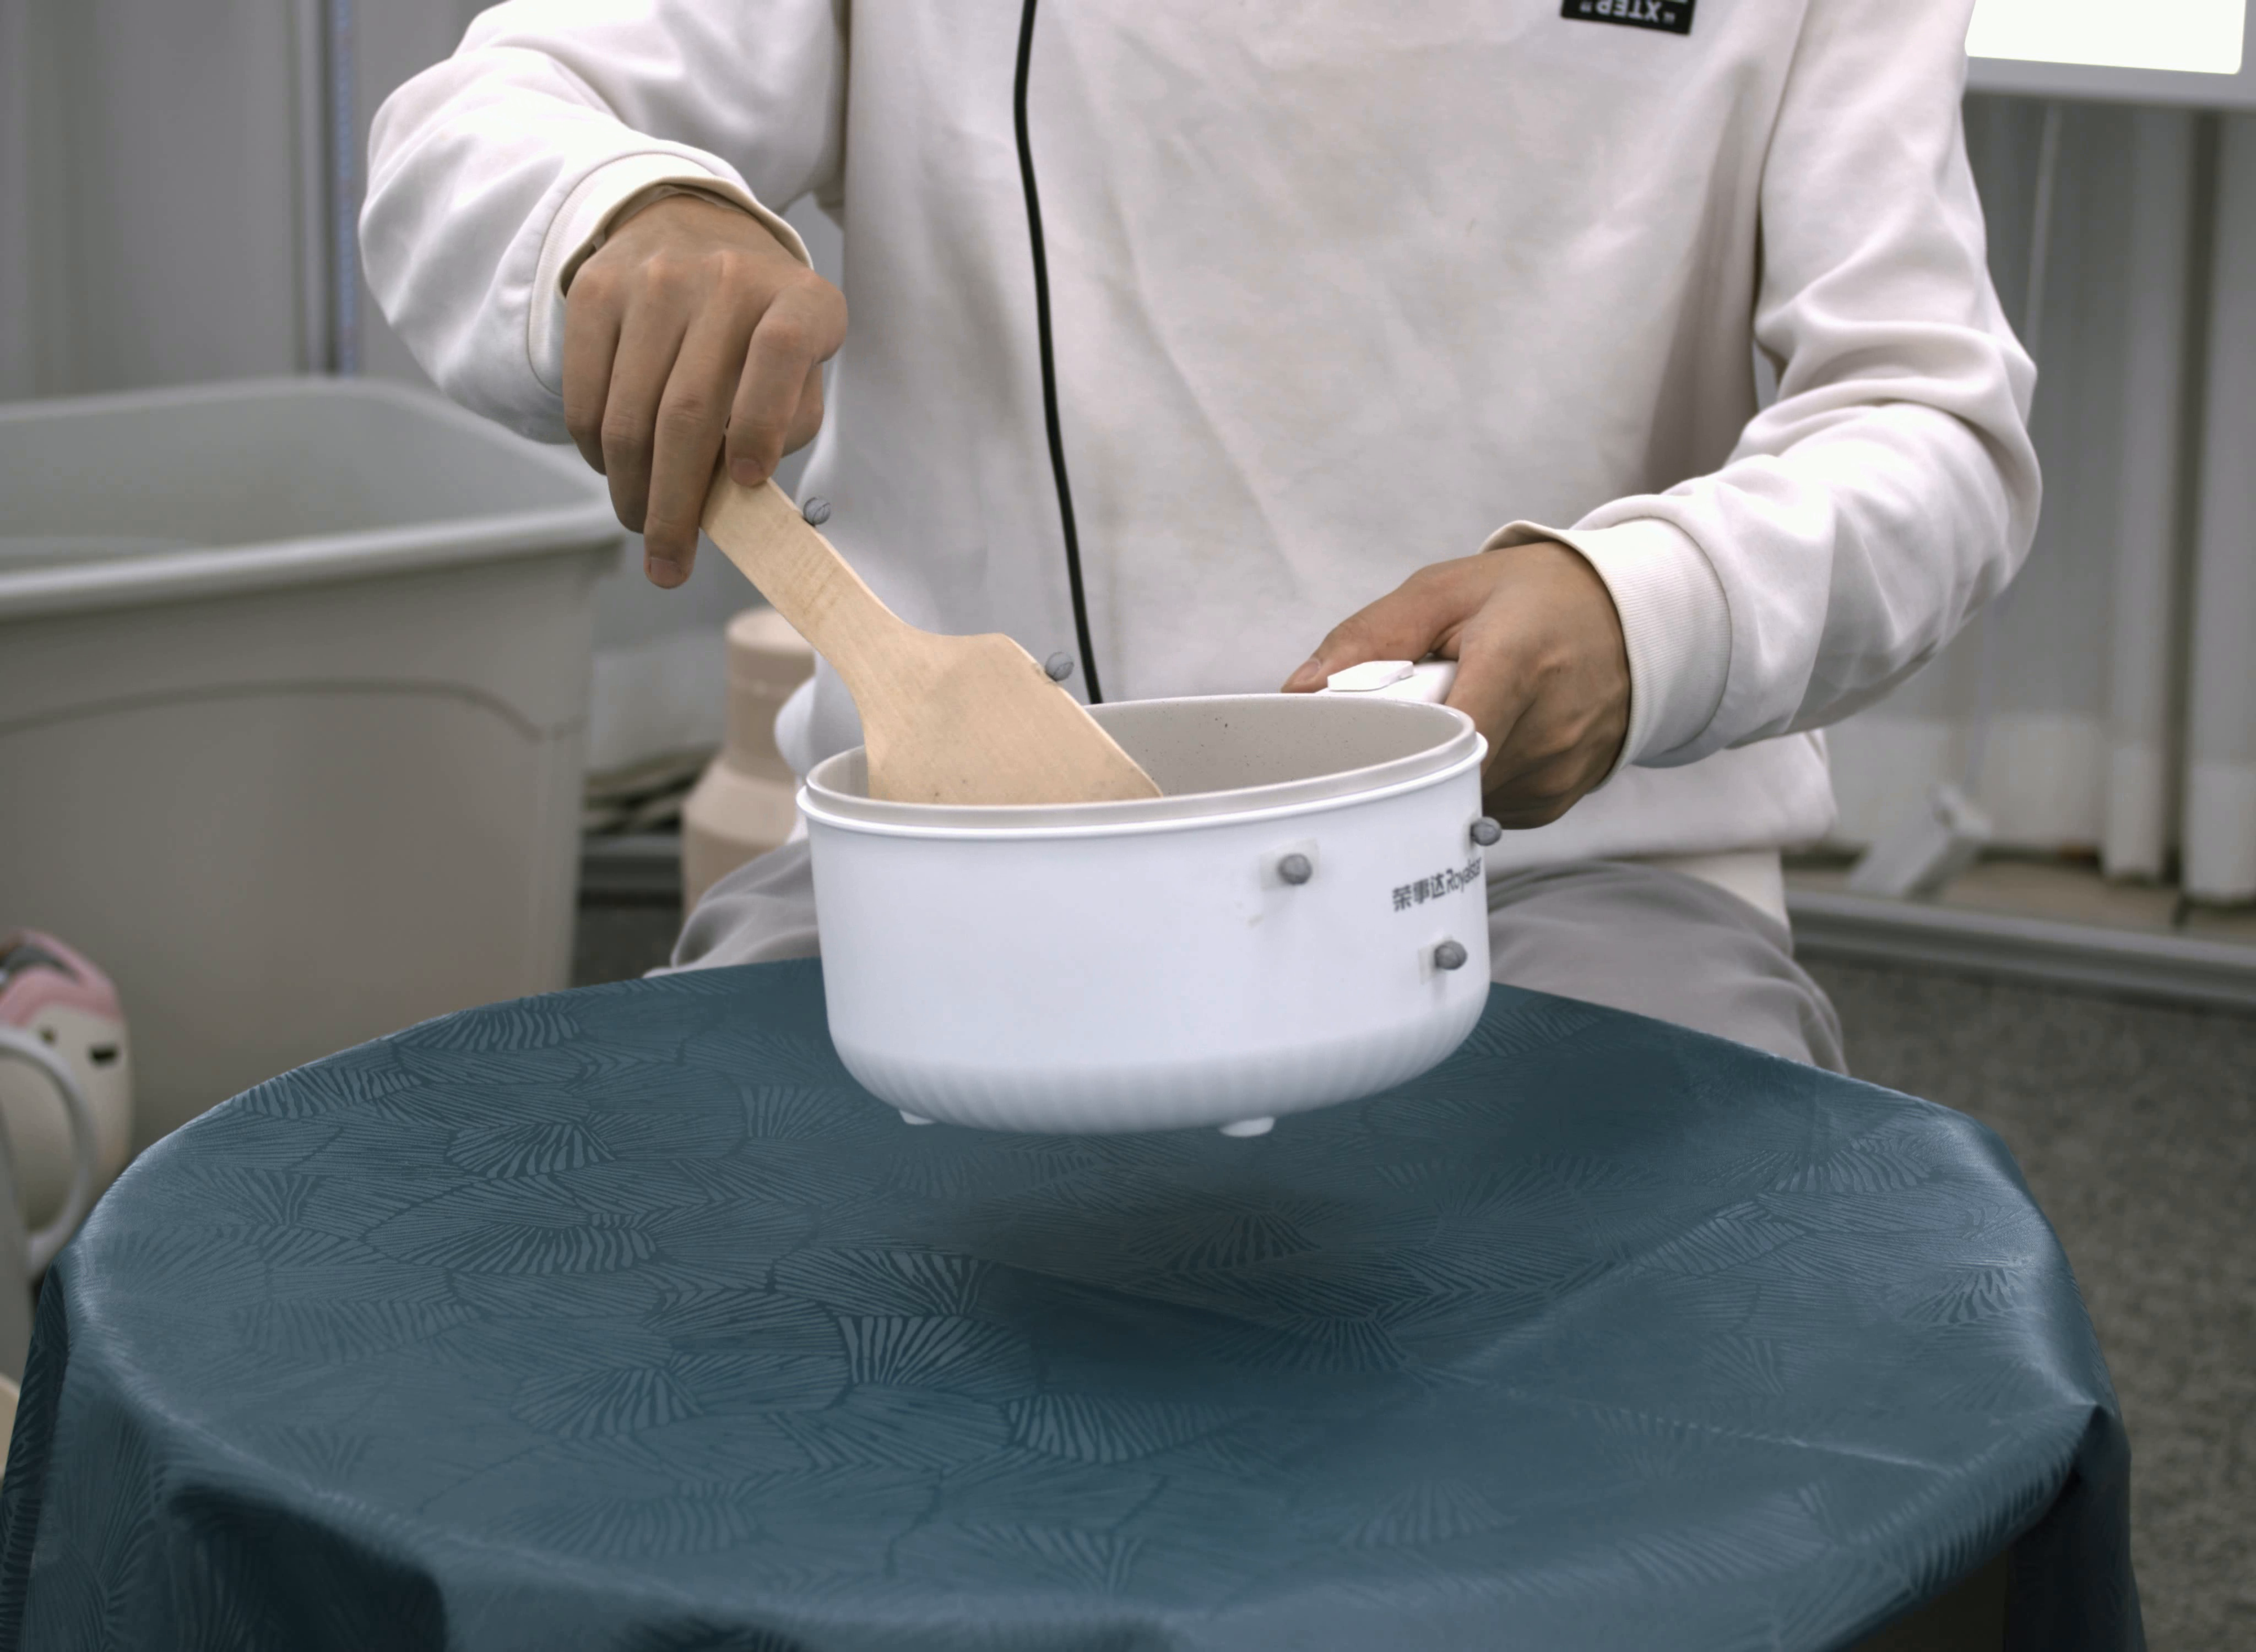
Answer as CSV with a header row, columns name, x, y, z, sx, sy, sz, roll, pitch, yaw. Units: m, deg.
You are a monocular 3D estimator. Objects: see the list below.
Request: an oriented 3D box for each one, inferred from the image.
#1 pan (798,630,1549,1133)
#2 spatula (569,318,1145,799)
name,x,y,z,sx,sy,sz,roll,pitch,yaw
pan,0.042,0.012,1.602,0.199,0.103,0.356,0,10,27
spatula,-0.092,-0.069,1.581,0.011,0.072,0.289,19,22,-51
